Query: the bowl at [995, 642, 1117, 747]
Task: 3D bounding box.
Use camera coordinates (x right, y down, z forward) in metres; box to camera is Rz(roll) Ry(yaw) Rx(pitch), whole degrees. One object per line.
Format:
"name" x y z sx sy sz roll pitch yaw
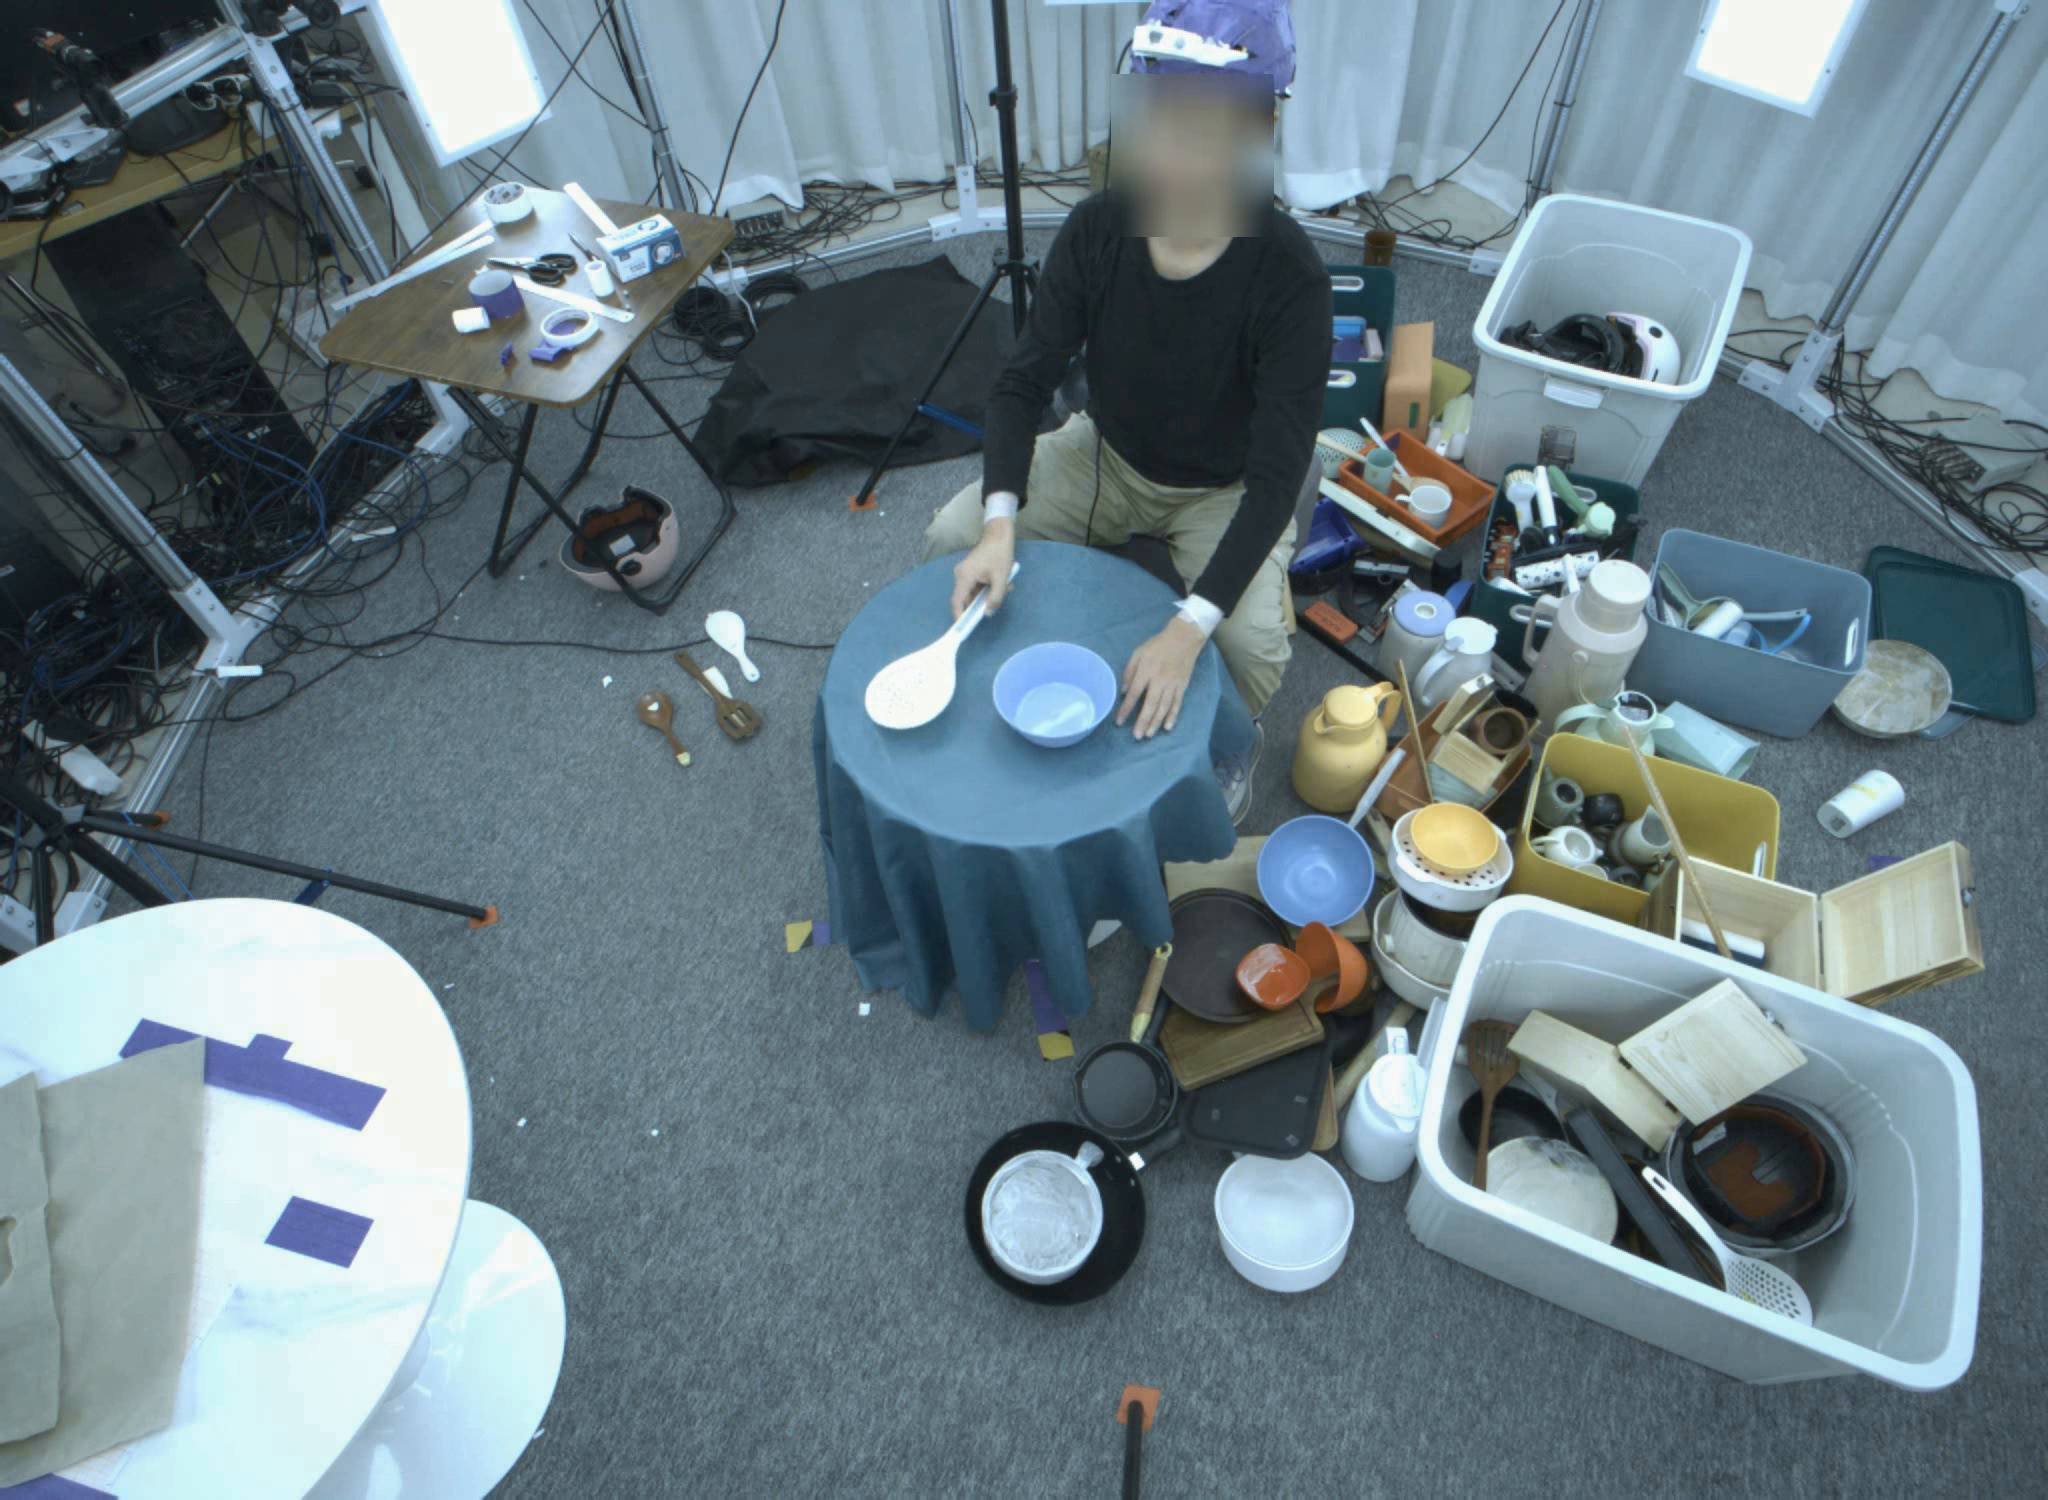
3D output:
"bowl" 0.047 -0.070 1.792 0.176 0.071 0.174 0 54 1

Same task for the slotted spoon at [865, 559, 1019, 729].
"slotted spoon" -0.111 -0.164 1.854 0.133 0.046 0.350 21 67 28
